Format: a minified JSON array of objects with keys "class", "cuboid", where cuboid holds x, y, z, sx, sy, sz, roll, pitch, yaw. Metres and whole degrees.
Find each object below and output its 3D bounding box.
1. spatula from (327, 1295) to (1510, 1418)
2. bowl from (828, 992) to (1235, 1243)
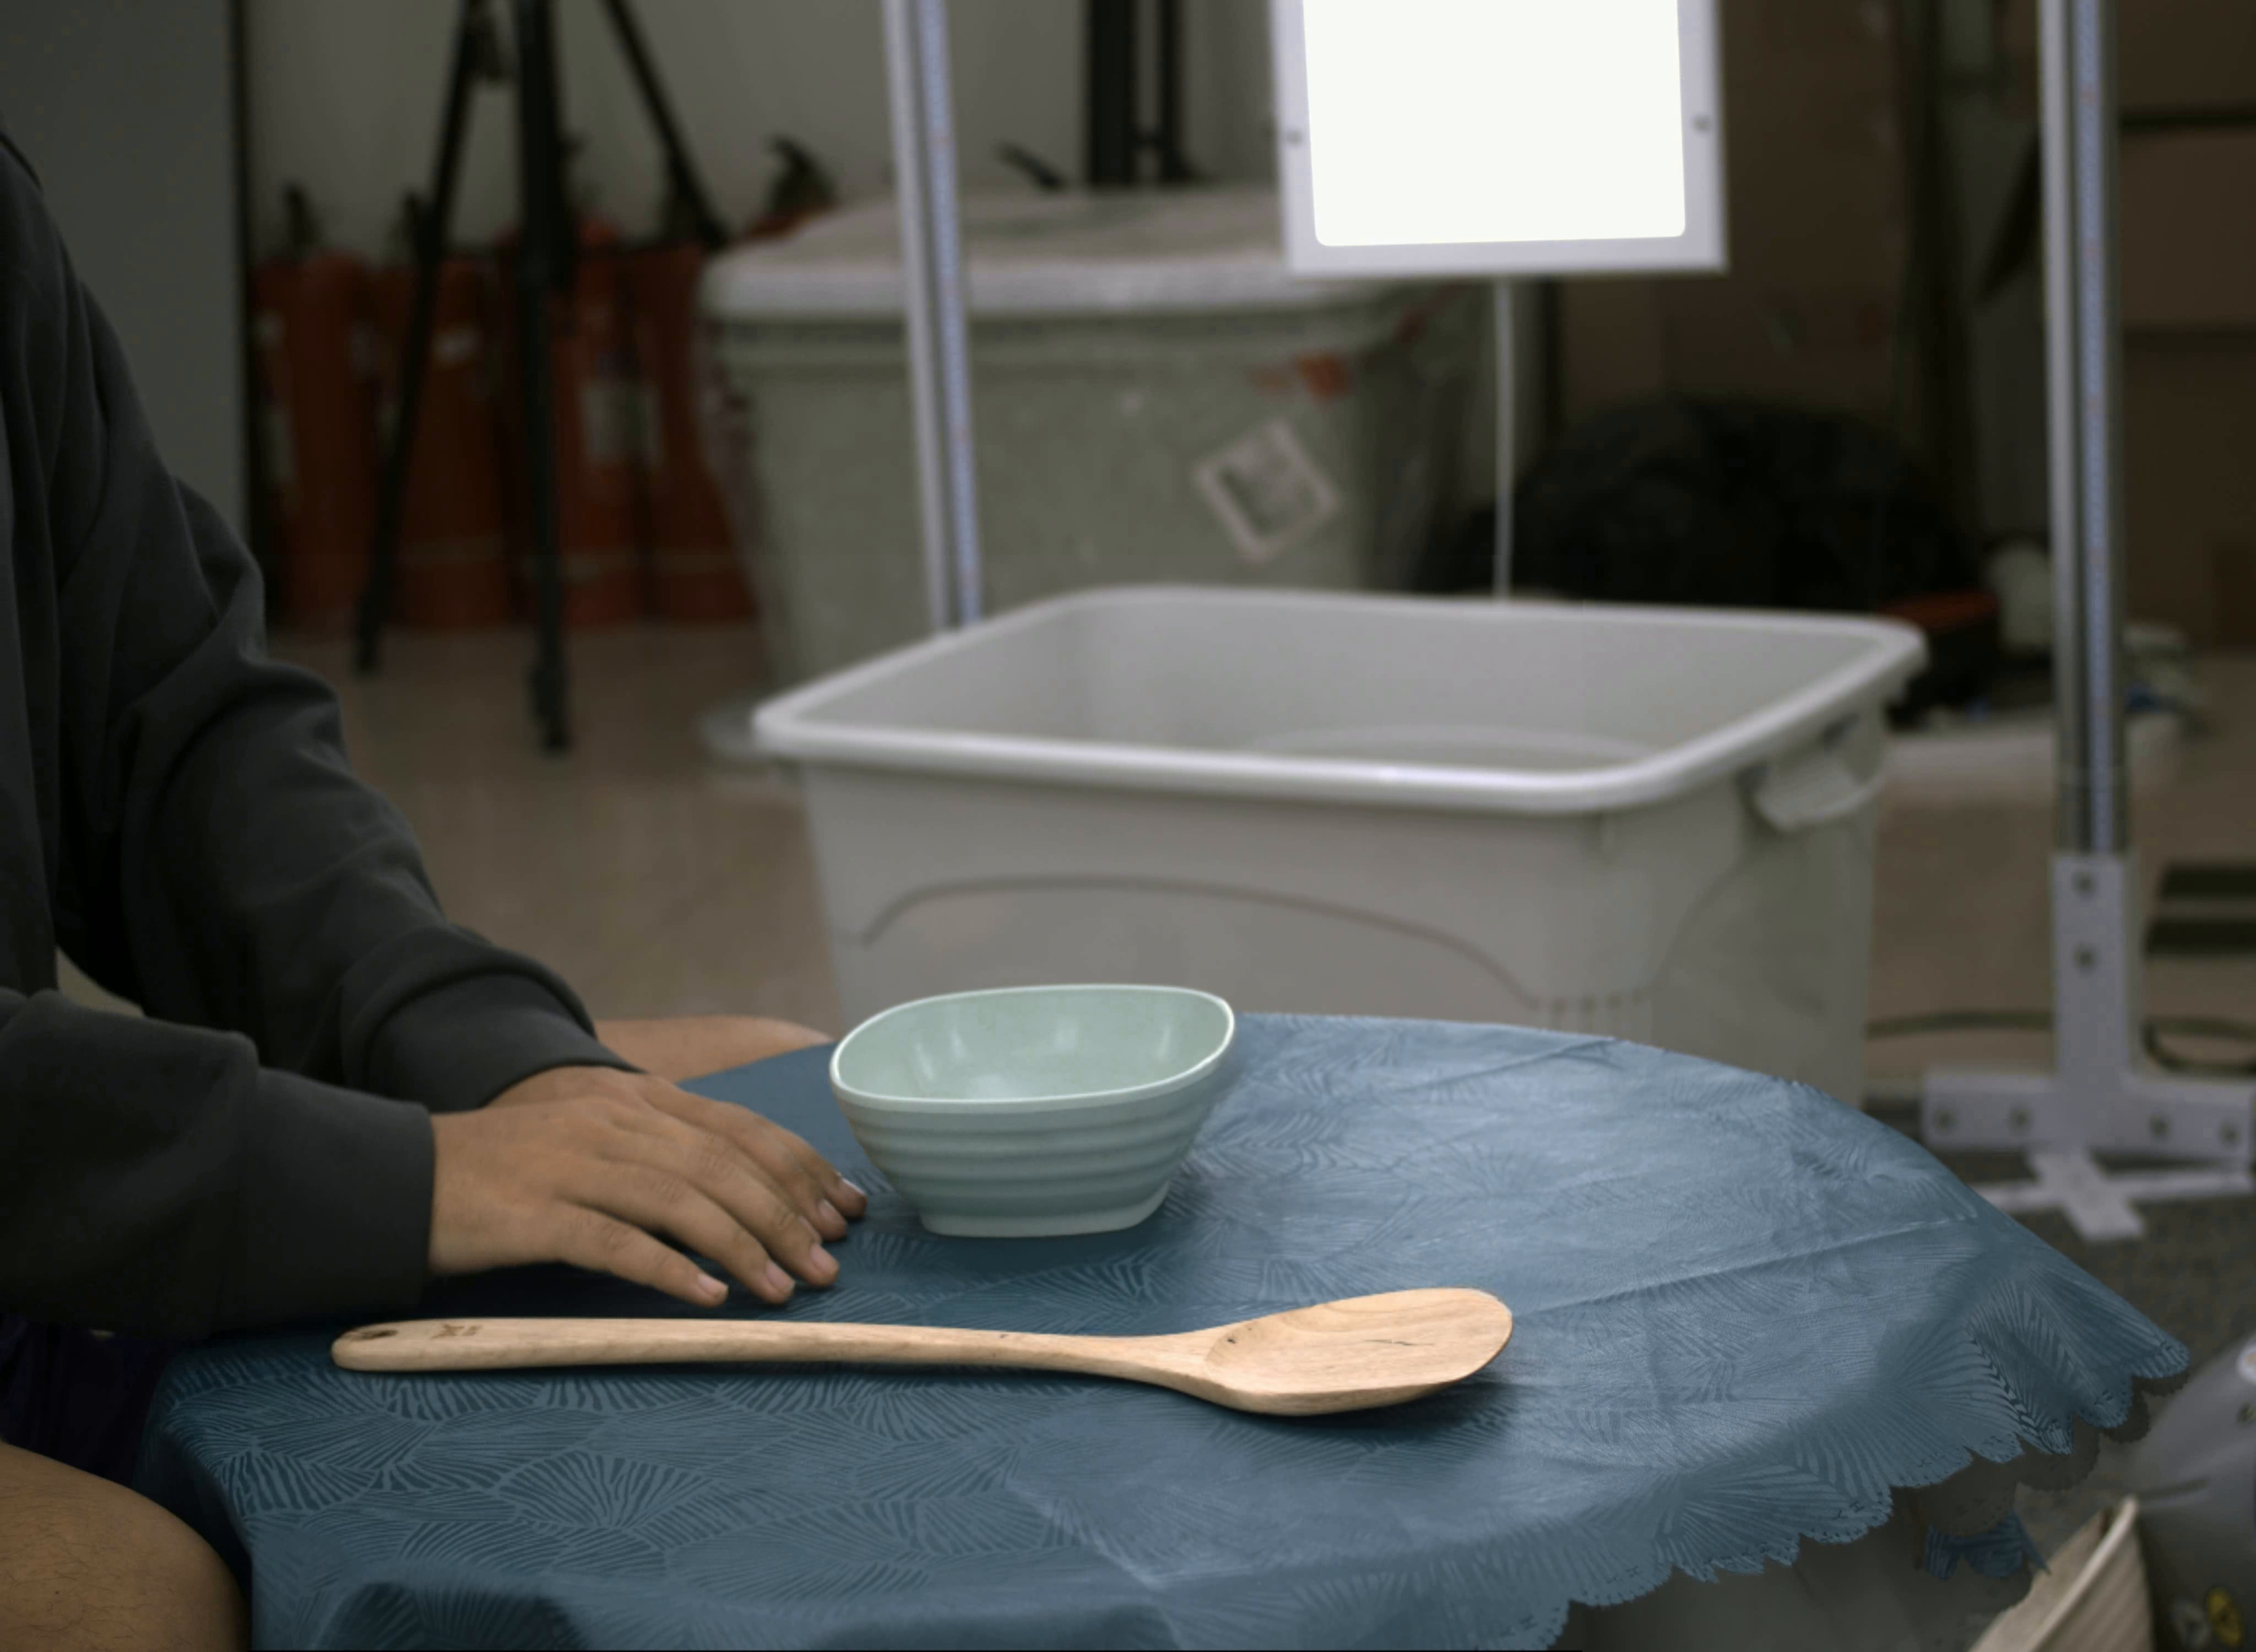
[{"class":"spatula","cuboid":[-0.072,0.165,1.730,0.395,0.018,0.094,0,13,18]},{"class":"bowl","cuboid":[-0.031,0.103,1.892,0.151,0.059,0.151,-3,13,-1]}]
